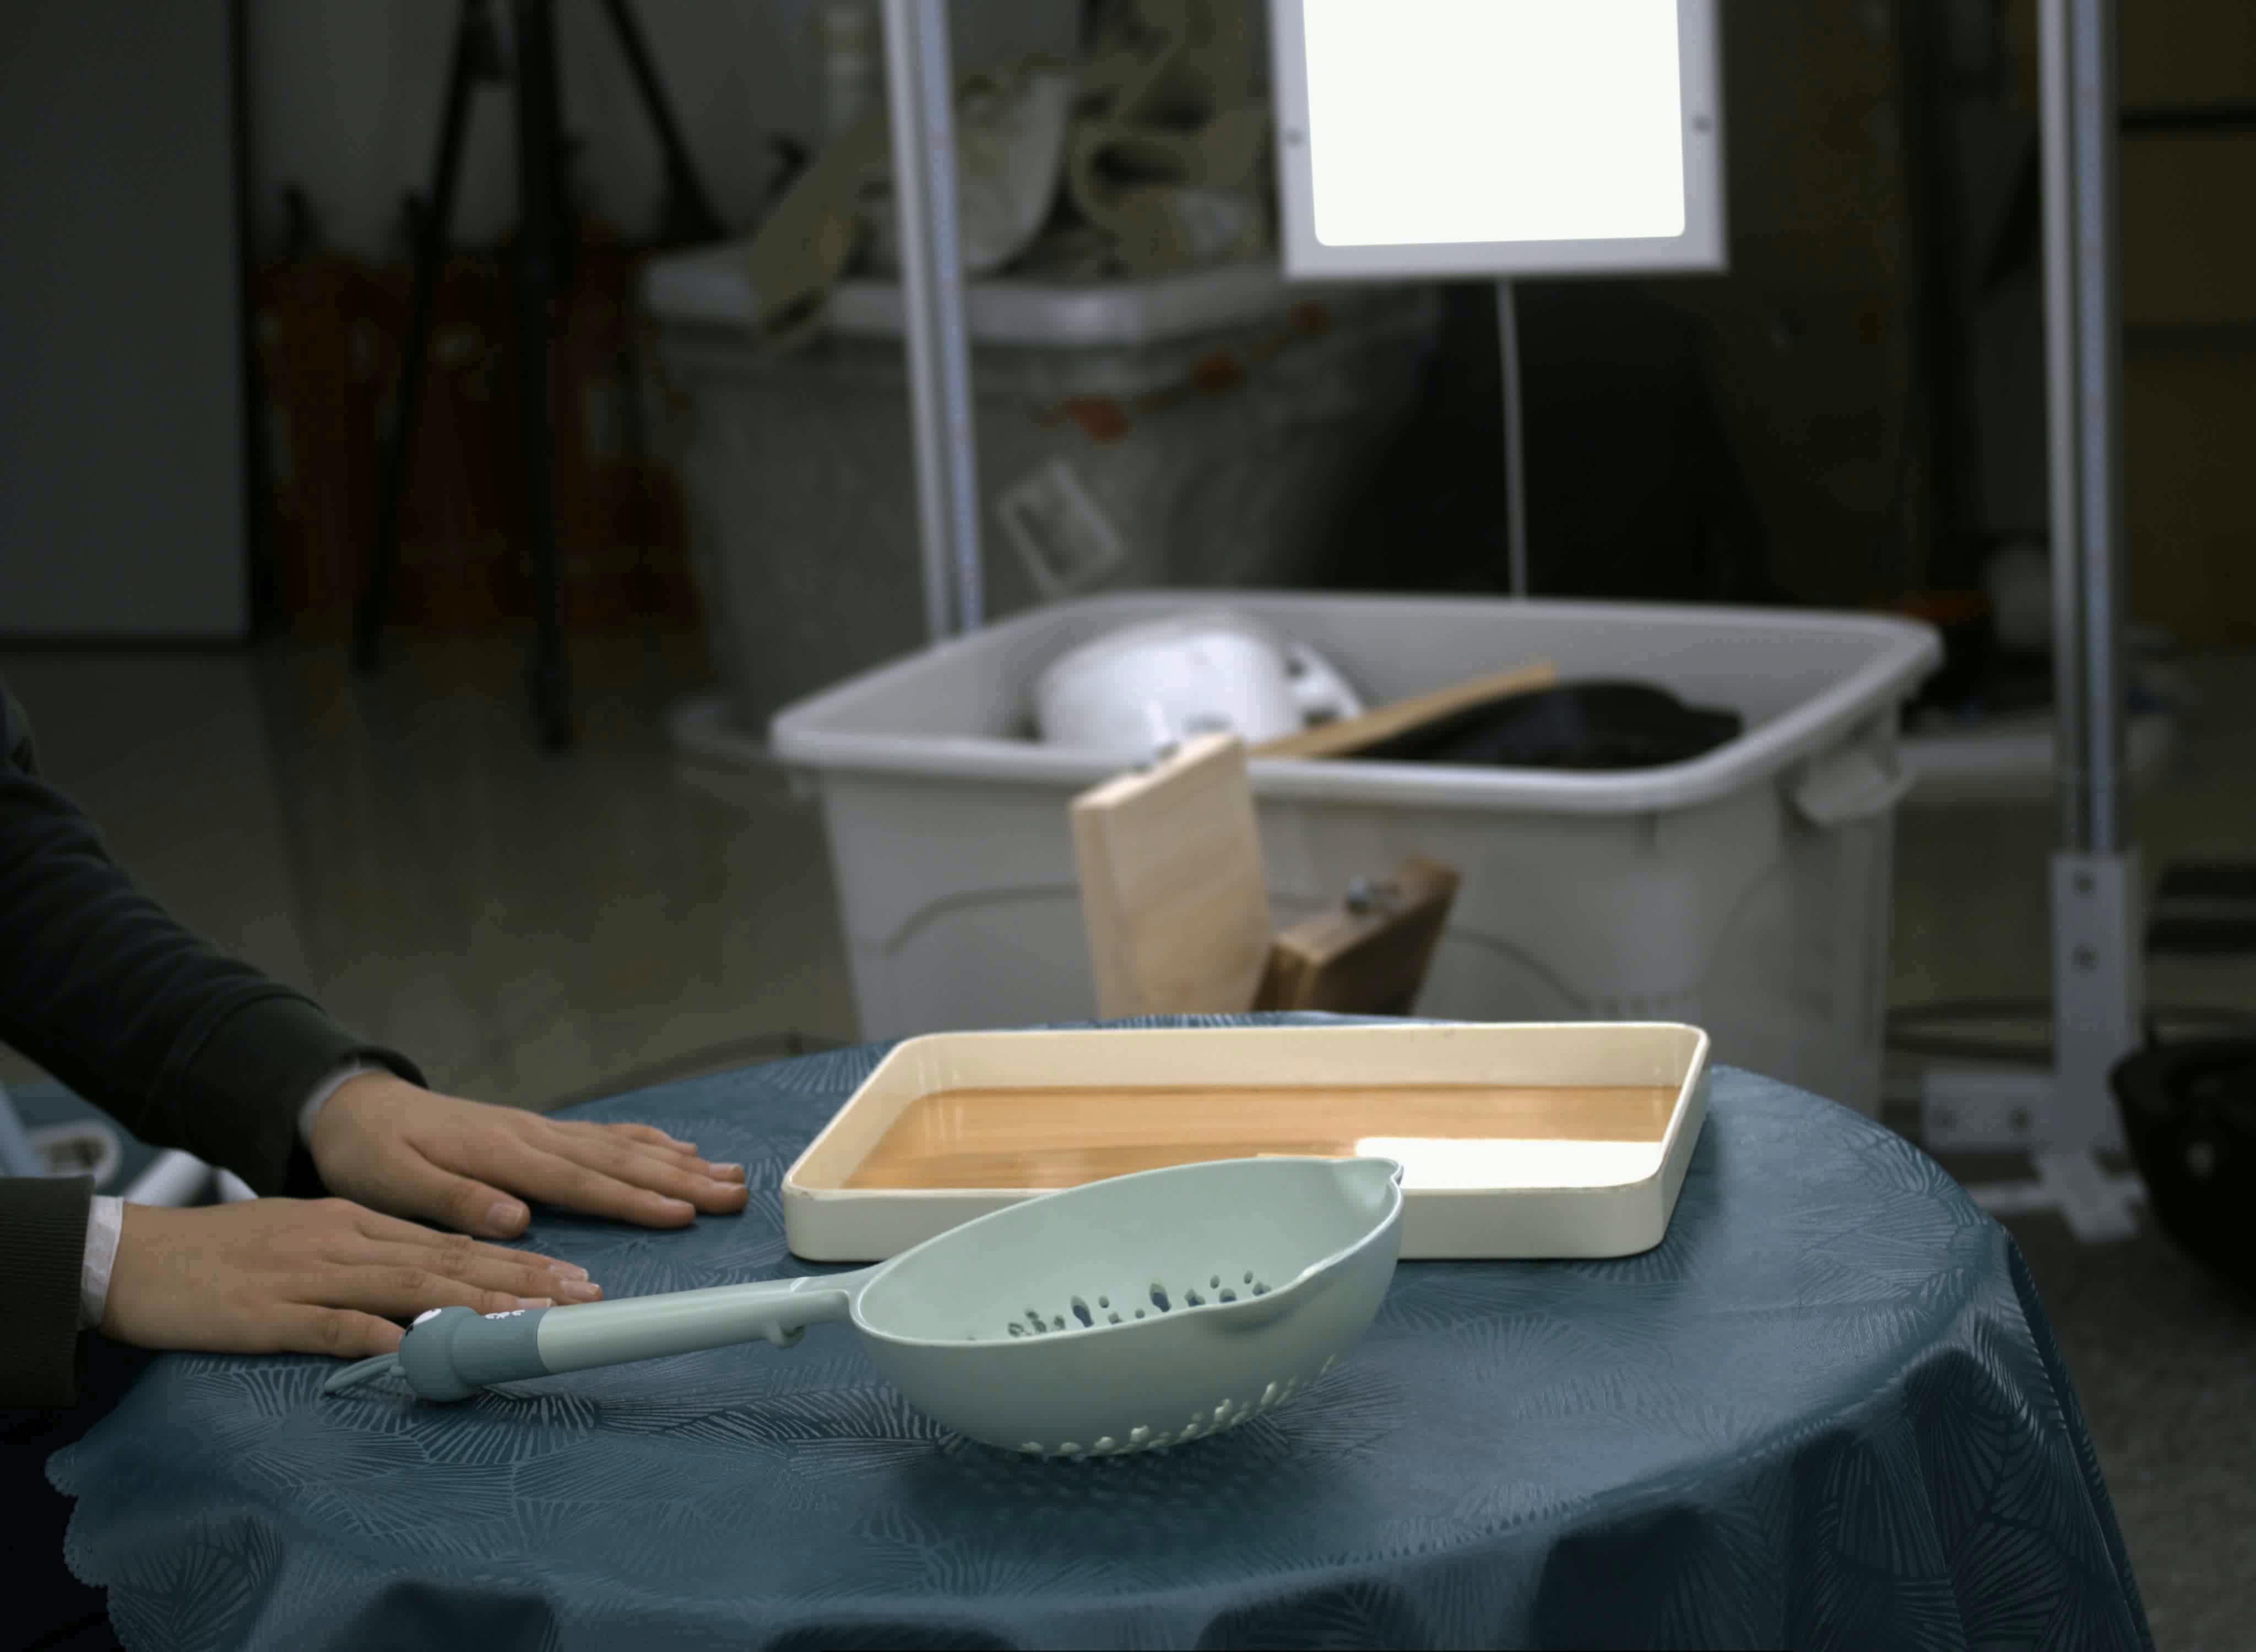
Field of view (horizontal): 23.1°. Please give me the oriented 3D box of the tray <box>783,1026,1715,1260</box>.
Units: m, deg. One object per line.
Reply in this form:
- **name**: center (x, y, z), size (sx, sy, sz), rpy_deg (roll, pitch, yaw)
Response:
- **tray**: center (0.046, 0.109, 1.899), size (0.303, 0.027, 0.189), rpy_deg (-1, 14, 15)

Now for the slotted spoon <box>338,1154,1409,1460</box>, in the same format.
- **slotted spoon**: center (-0.086, 0.150, 1.695), size (0.364, 0.075, 0.166), rpy_deg (1, 14, 22)
